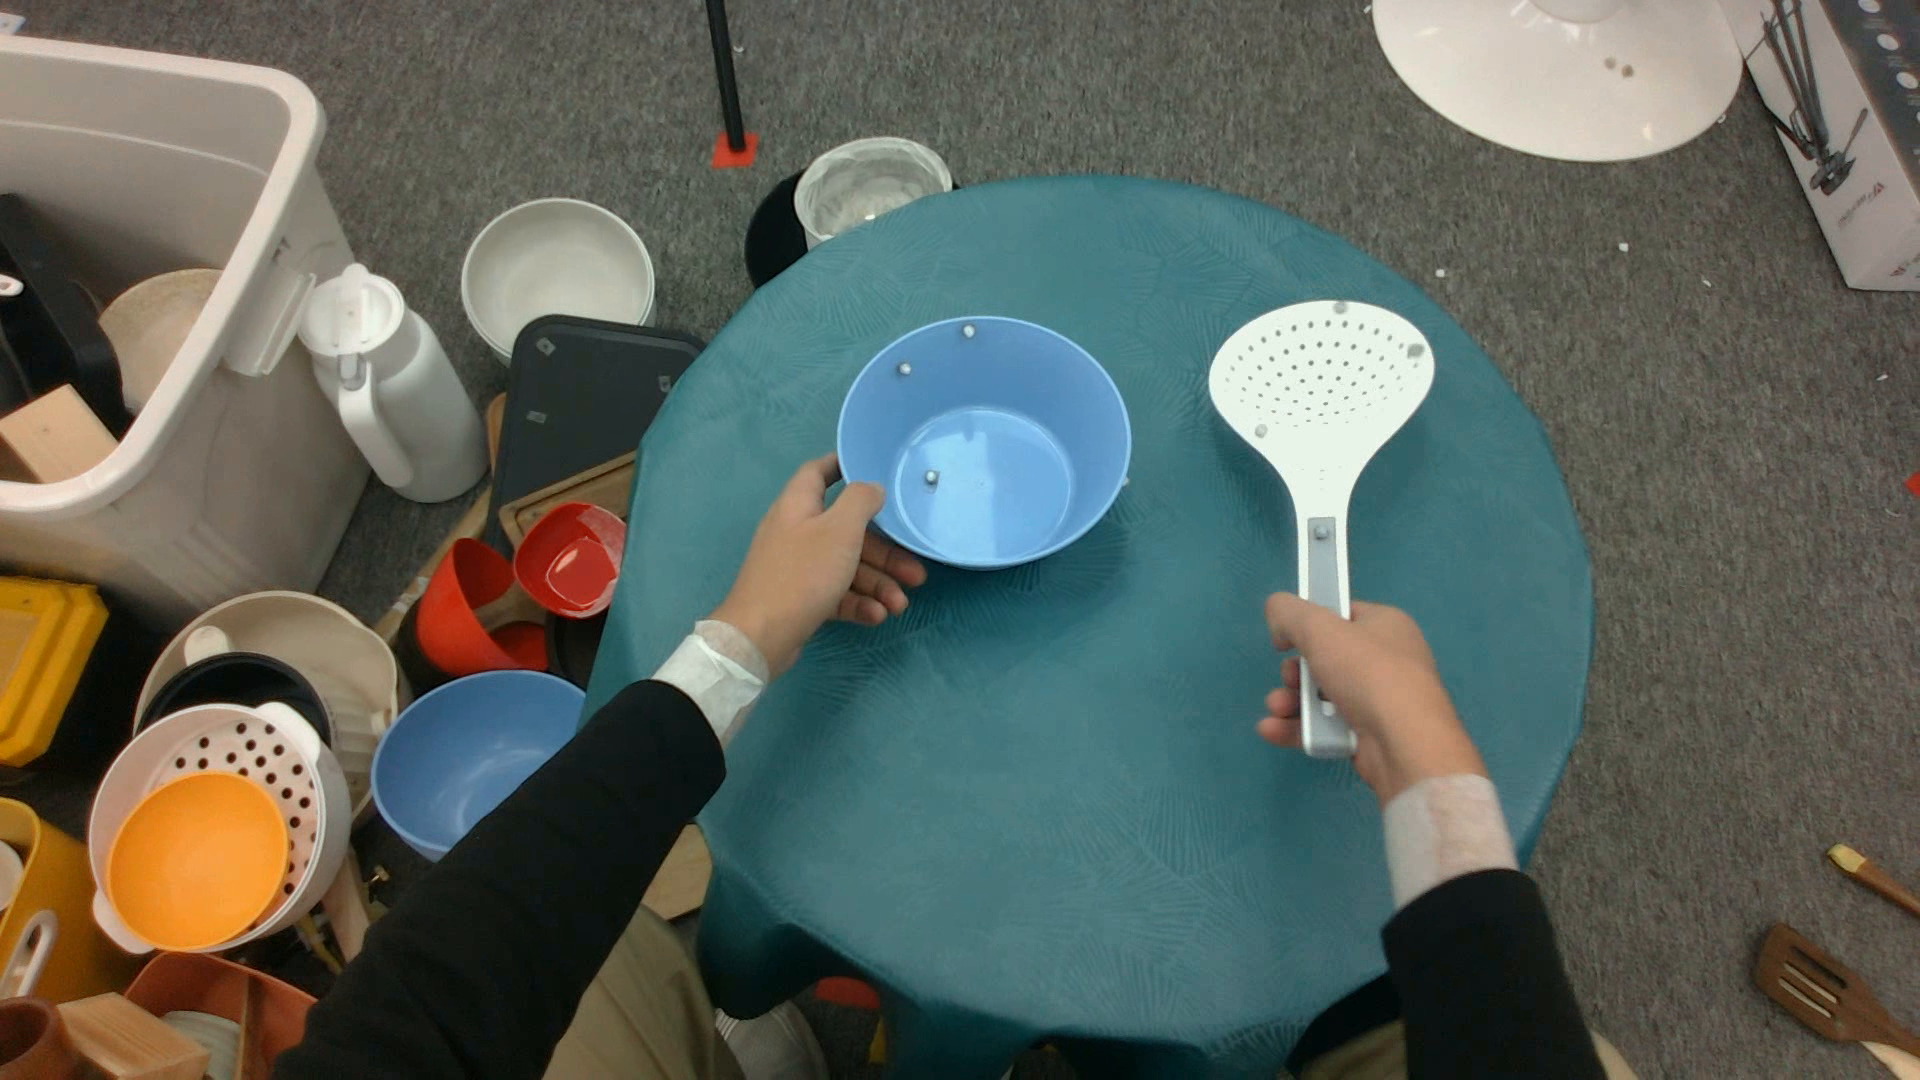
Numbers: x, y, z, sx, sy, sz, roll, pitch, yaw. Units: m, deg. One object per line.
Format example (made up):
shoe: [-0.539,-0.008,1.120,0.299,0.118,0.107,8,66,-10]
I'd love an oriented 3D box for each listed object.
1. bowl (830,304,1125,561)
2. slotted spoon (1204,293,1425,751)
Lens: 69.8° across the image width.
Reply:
bowl: [0.010,-0.054,0.845,0.176,0.070,0.176,0,63,-1]
slotted spoon: [0.211,-0.027,0.799,0.136,0.045,0.351,-3,42,13]
